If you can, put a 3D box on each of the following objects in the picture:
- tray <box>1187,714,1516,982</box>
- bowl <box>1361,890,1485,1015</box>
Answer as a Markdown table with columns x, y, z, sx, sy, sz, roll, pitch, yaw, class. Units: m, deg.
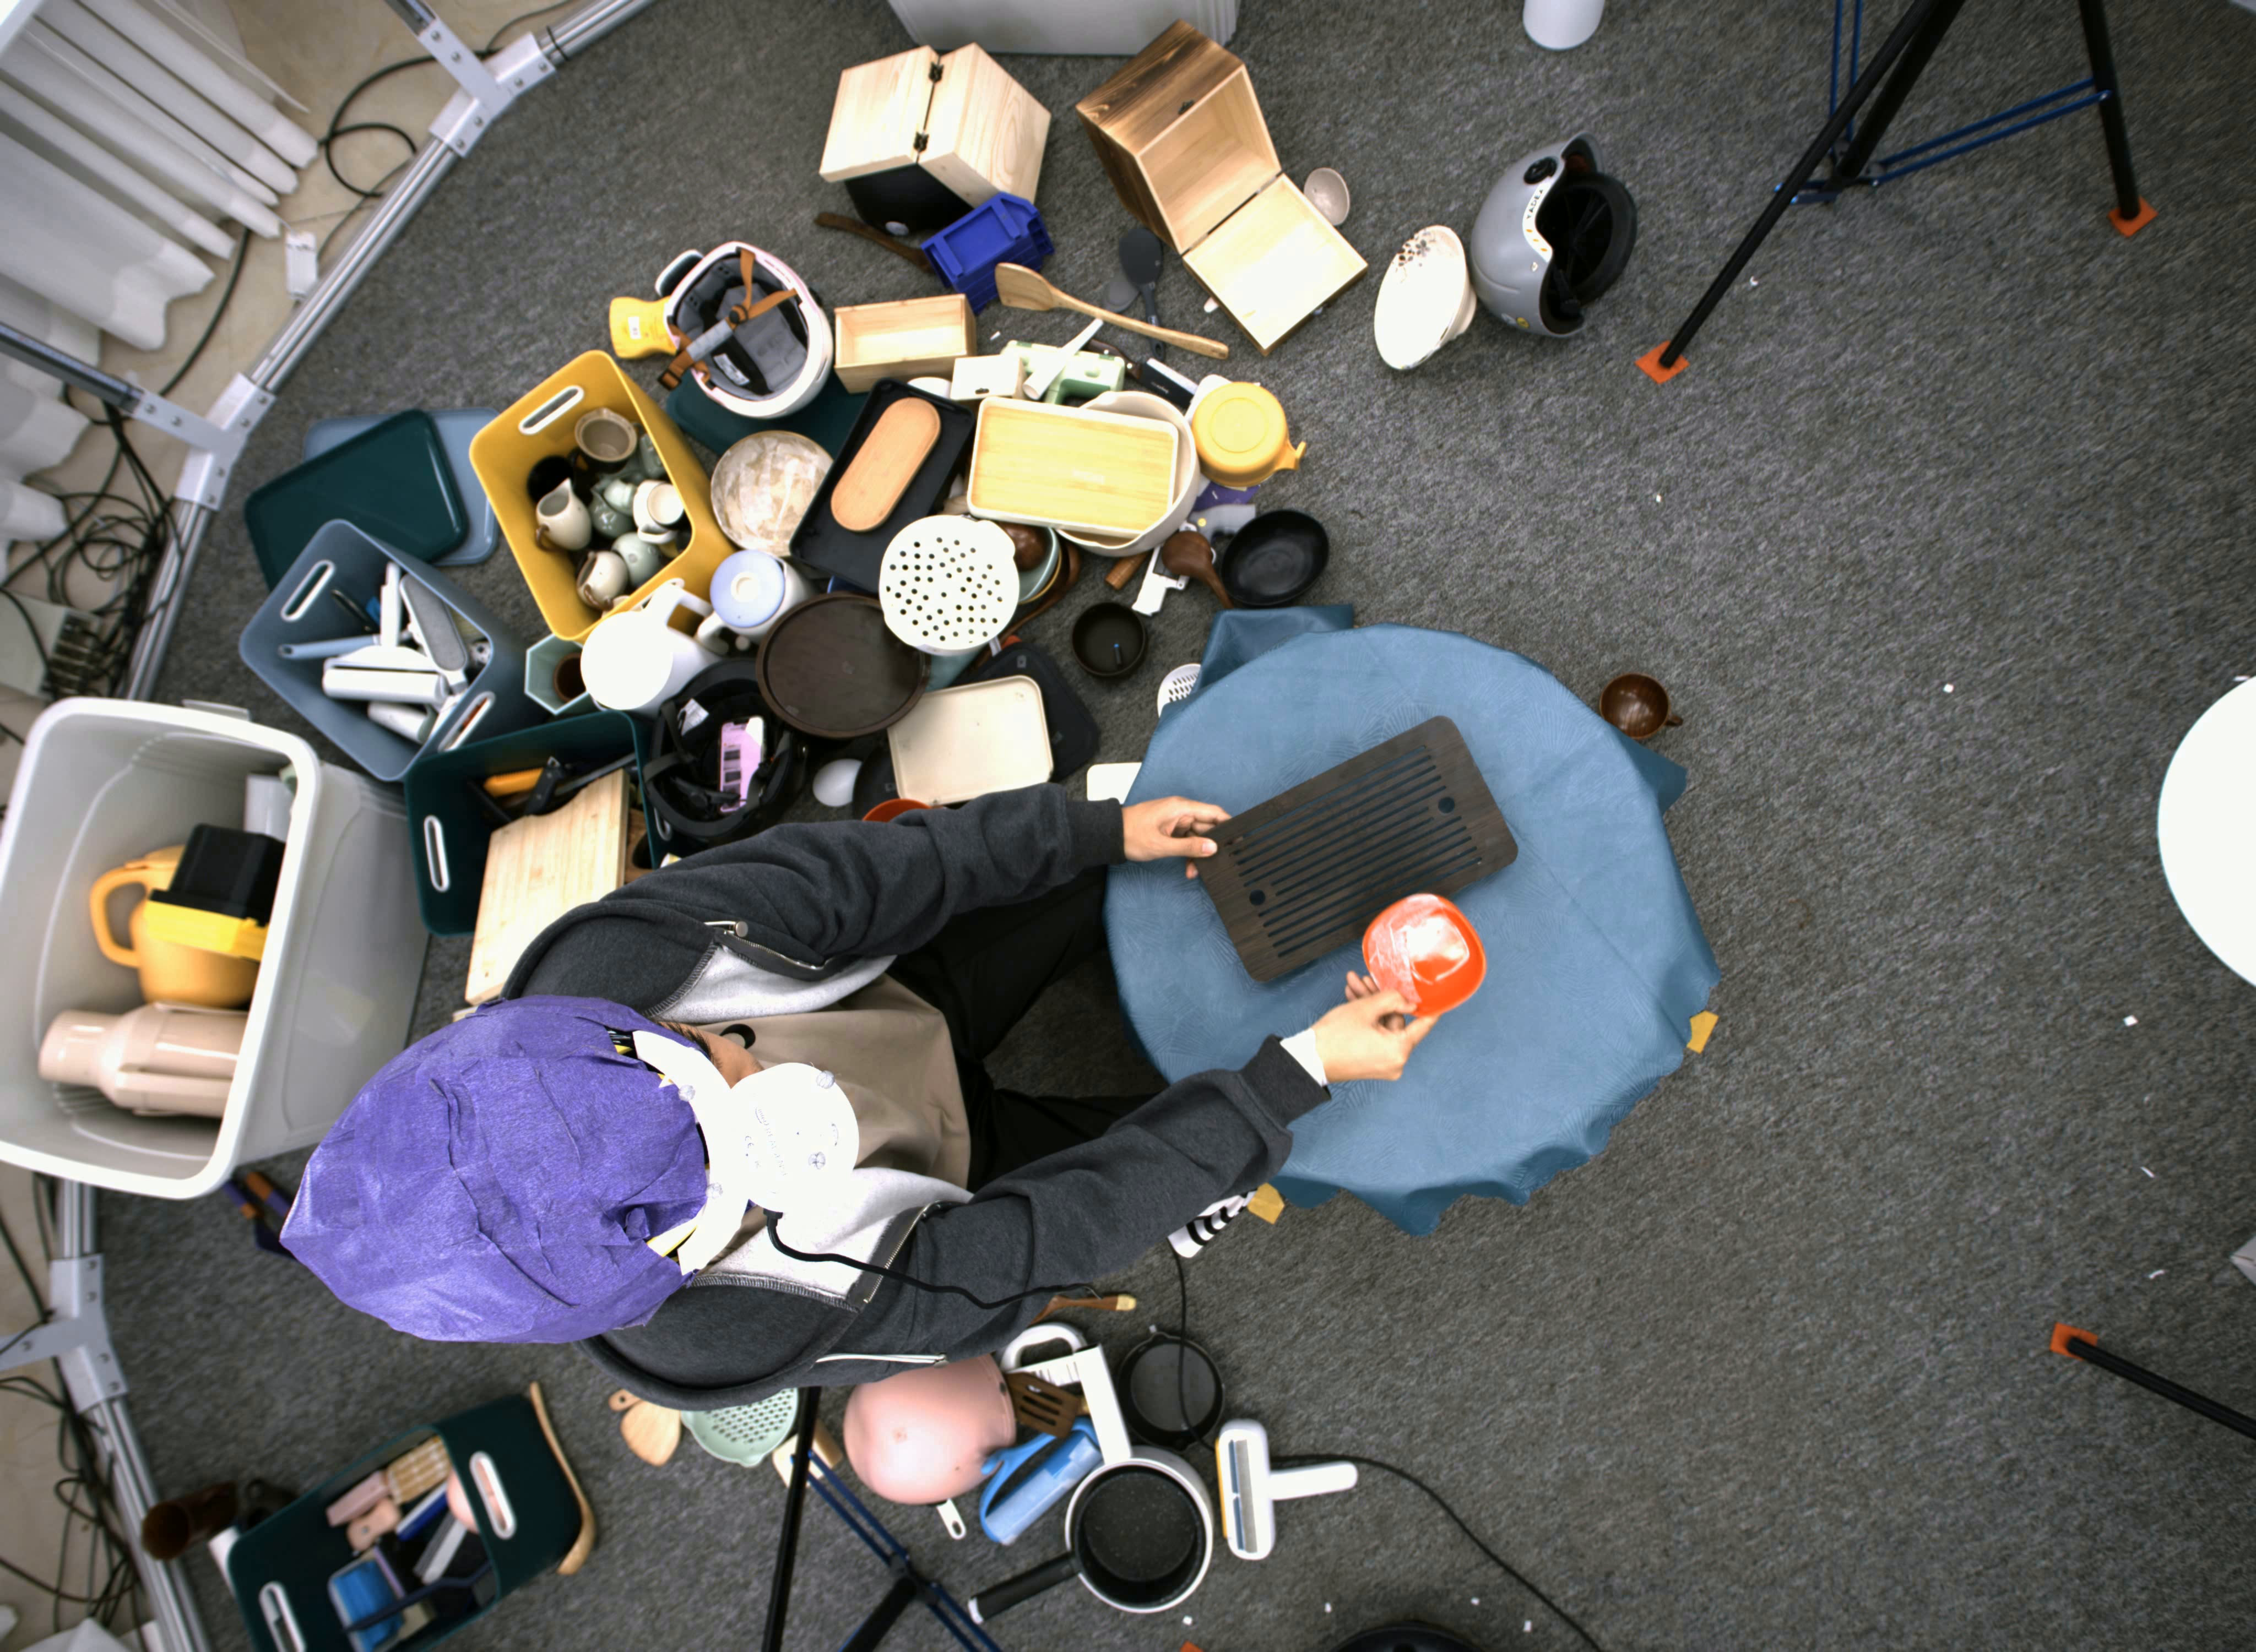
| x | y | z | sx | sy | sz | roll | pitch | yaw | class |
| --- | --- | --- | --- | --- | --- | --- | --- | --- | --- |
| 0.229 | 0.022 | 1.429 | 0.308 | 0.018 | 0.169 | -27 | 87 | 9 | tray |
| 0.285 | 0.114 | 1.309 | 0.119 | 0.050 | 0.120 | 6 | 103 | 29 | bowl |
